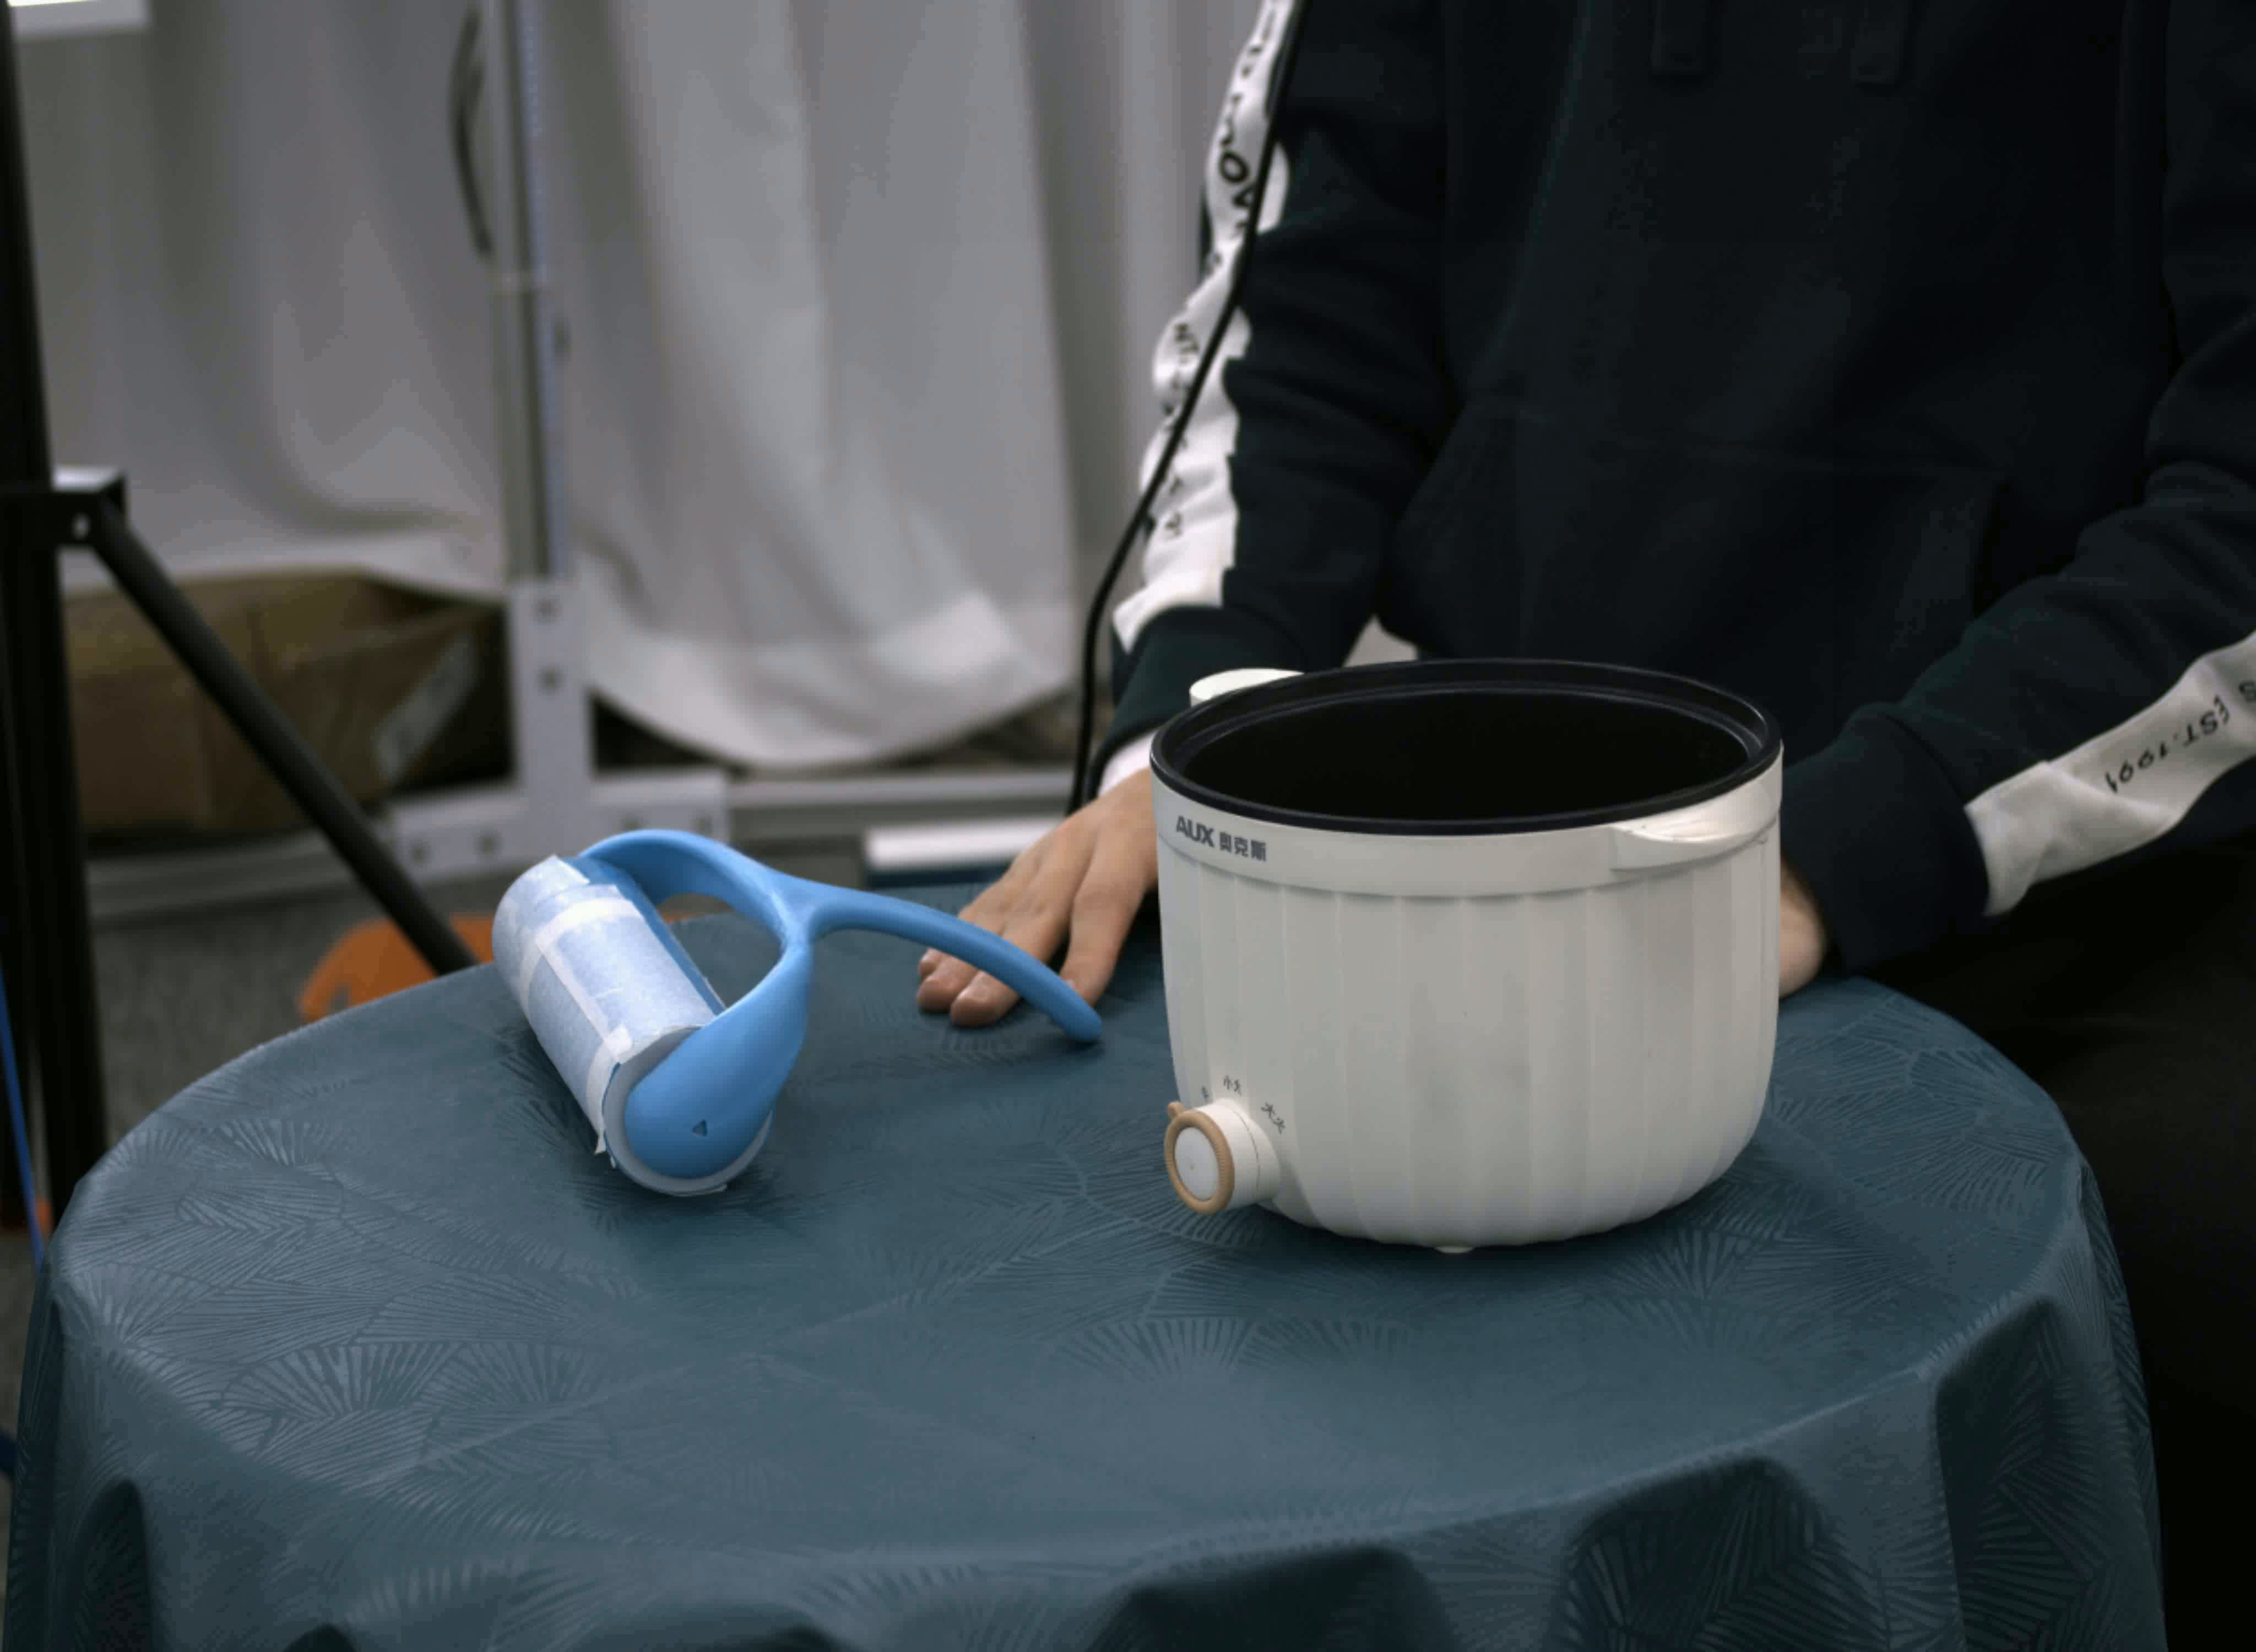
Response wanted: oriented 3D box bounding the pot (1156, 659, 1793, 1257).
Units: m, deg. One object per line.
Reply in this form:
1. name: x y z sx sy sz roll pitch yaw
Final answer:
1. pot: 0.096 0.040 1.527 0.186 0.143 0.246 -10 15 -34

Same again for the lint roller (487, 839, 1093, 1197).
1. lint roller: -0.100 0.051 1.671 0.177 0.068 0.232 -10 15 -16
